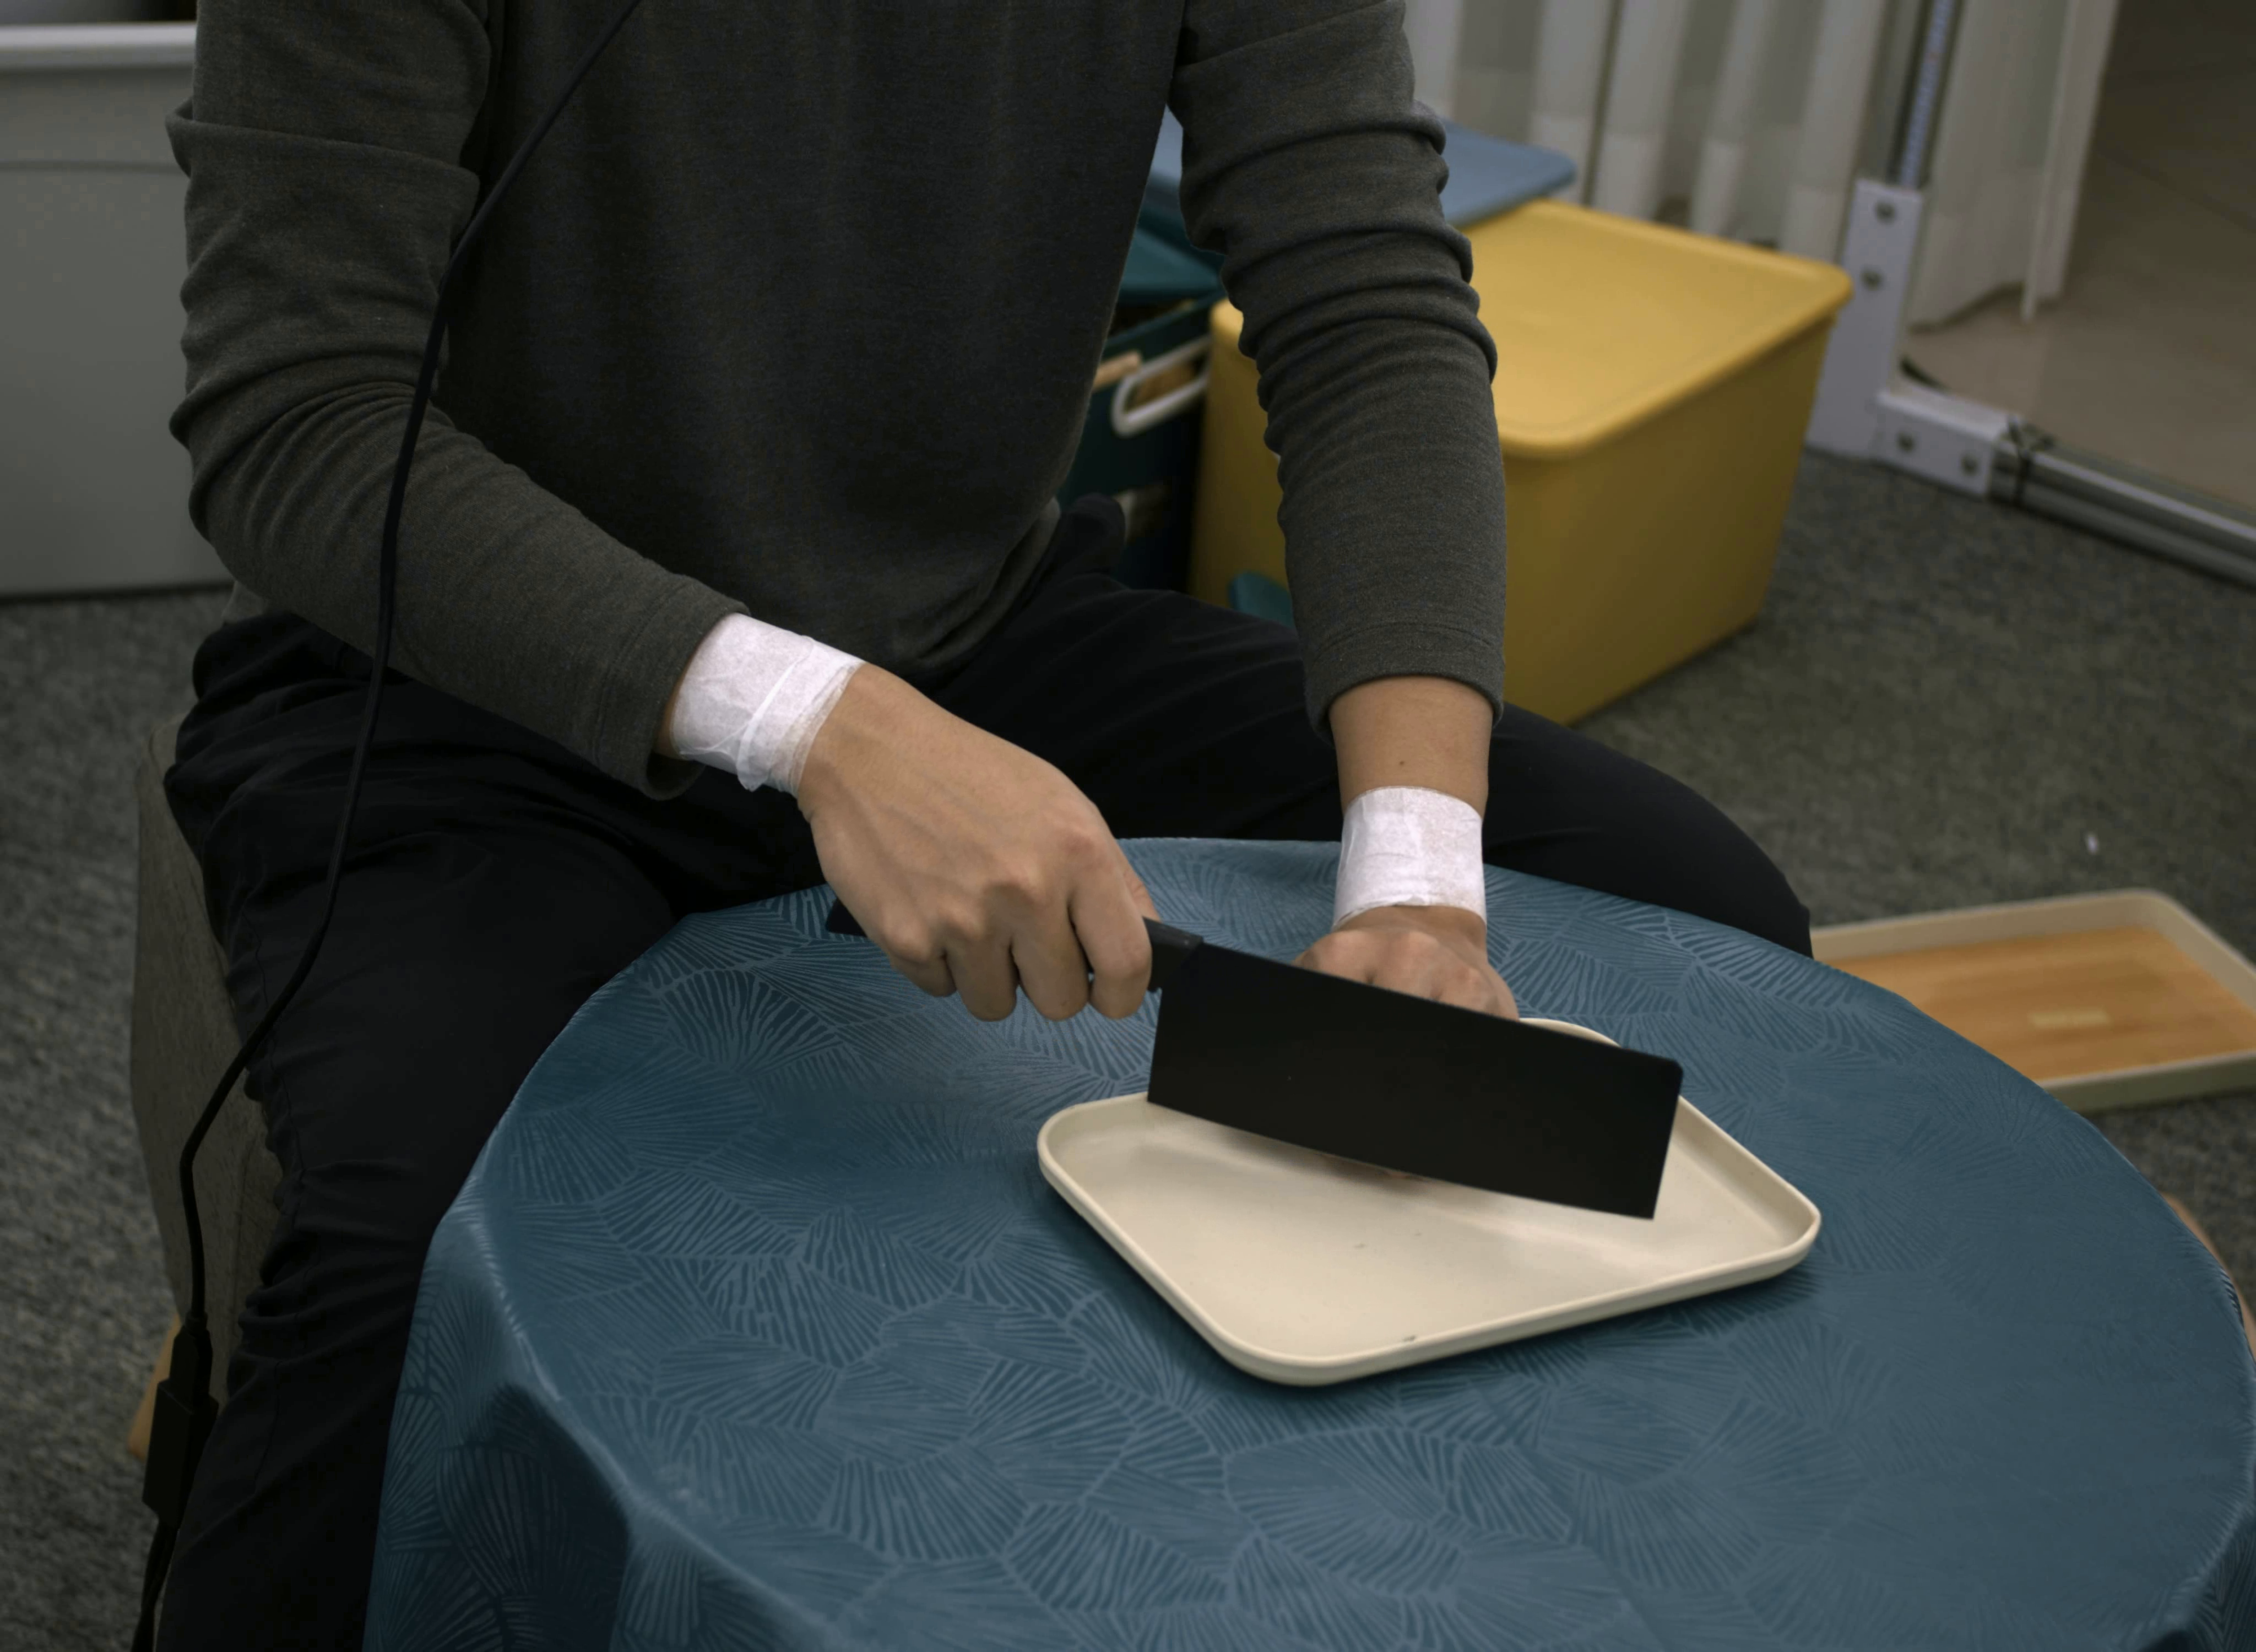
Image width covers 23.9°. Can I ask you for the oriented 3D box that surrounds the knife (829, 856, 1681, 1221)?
[{"bbox_3d":[0.040,0.069,1.809,0.302,0.081,0.021,18,24,12],"label":"knife"}]

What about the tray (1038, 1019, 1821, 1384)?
[{"bbox_3d":[0.102,0.126,1.804,0.238,0.017,0.173,-10,30,-29],"label":"tray"}]
